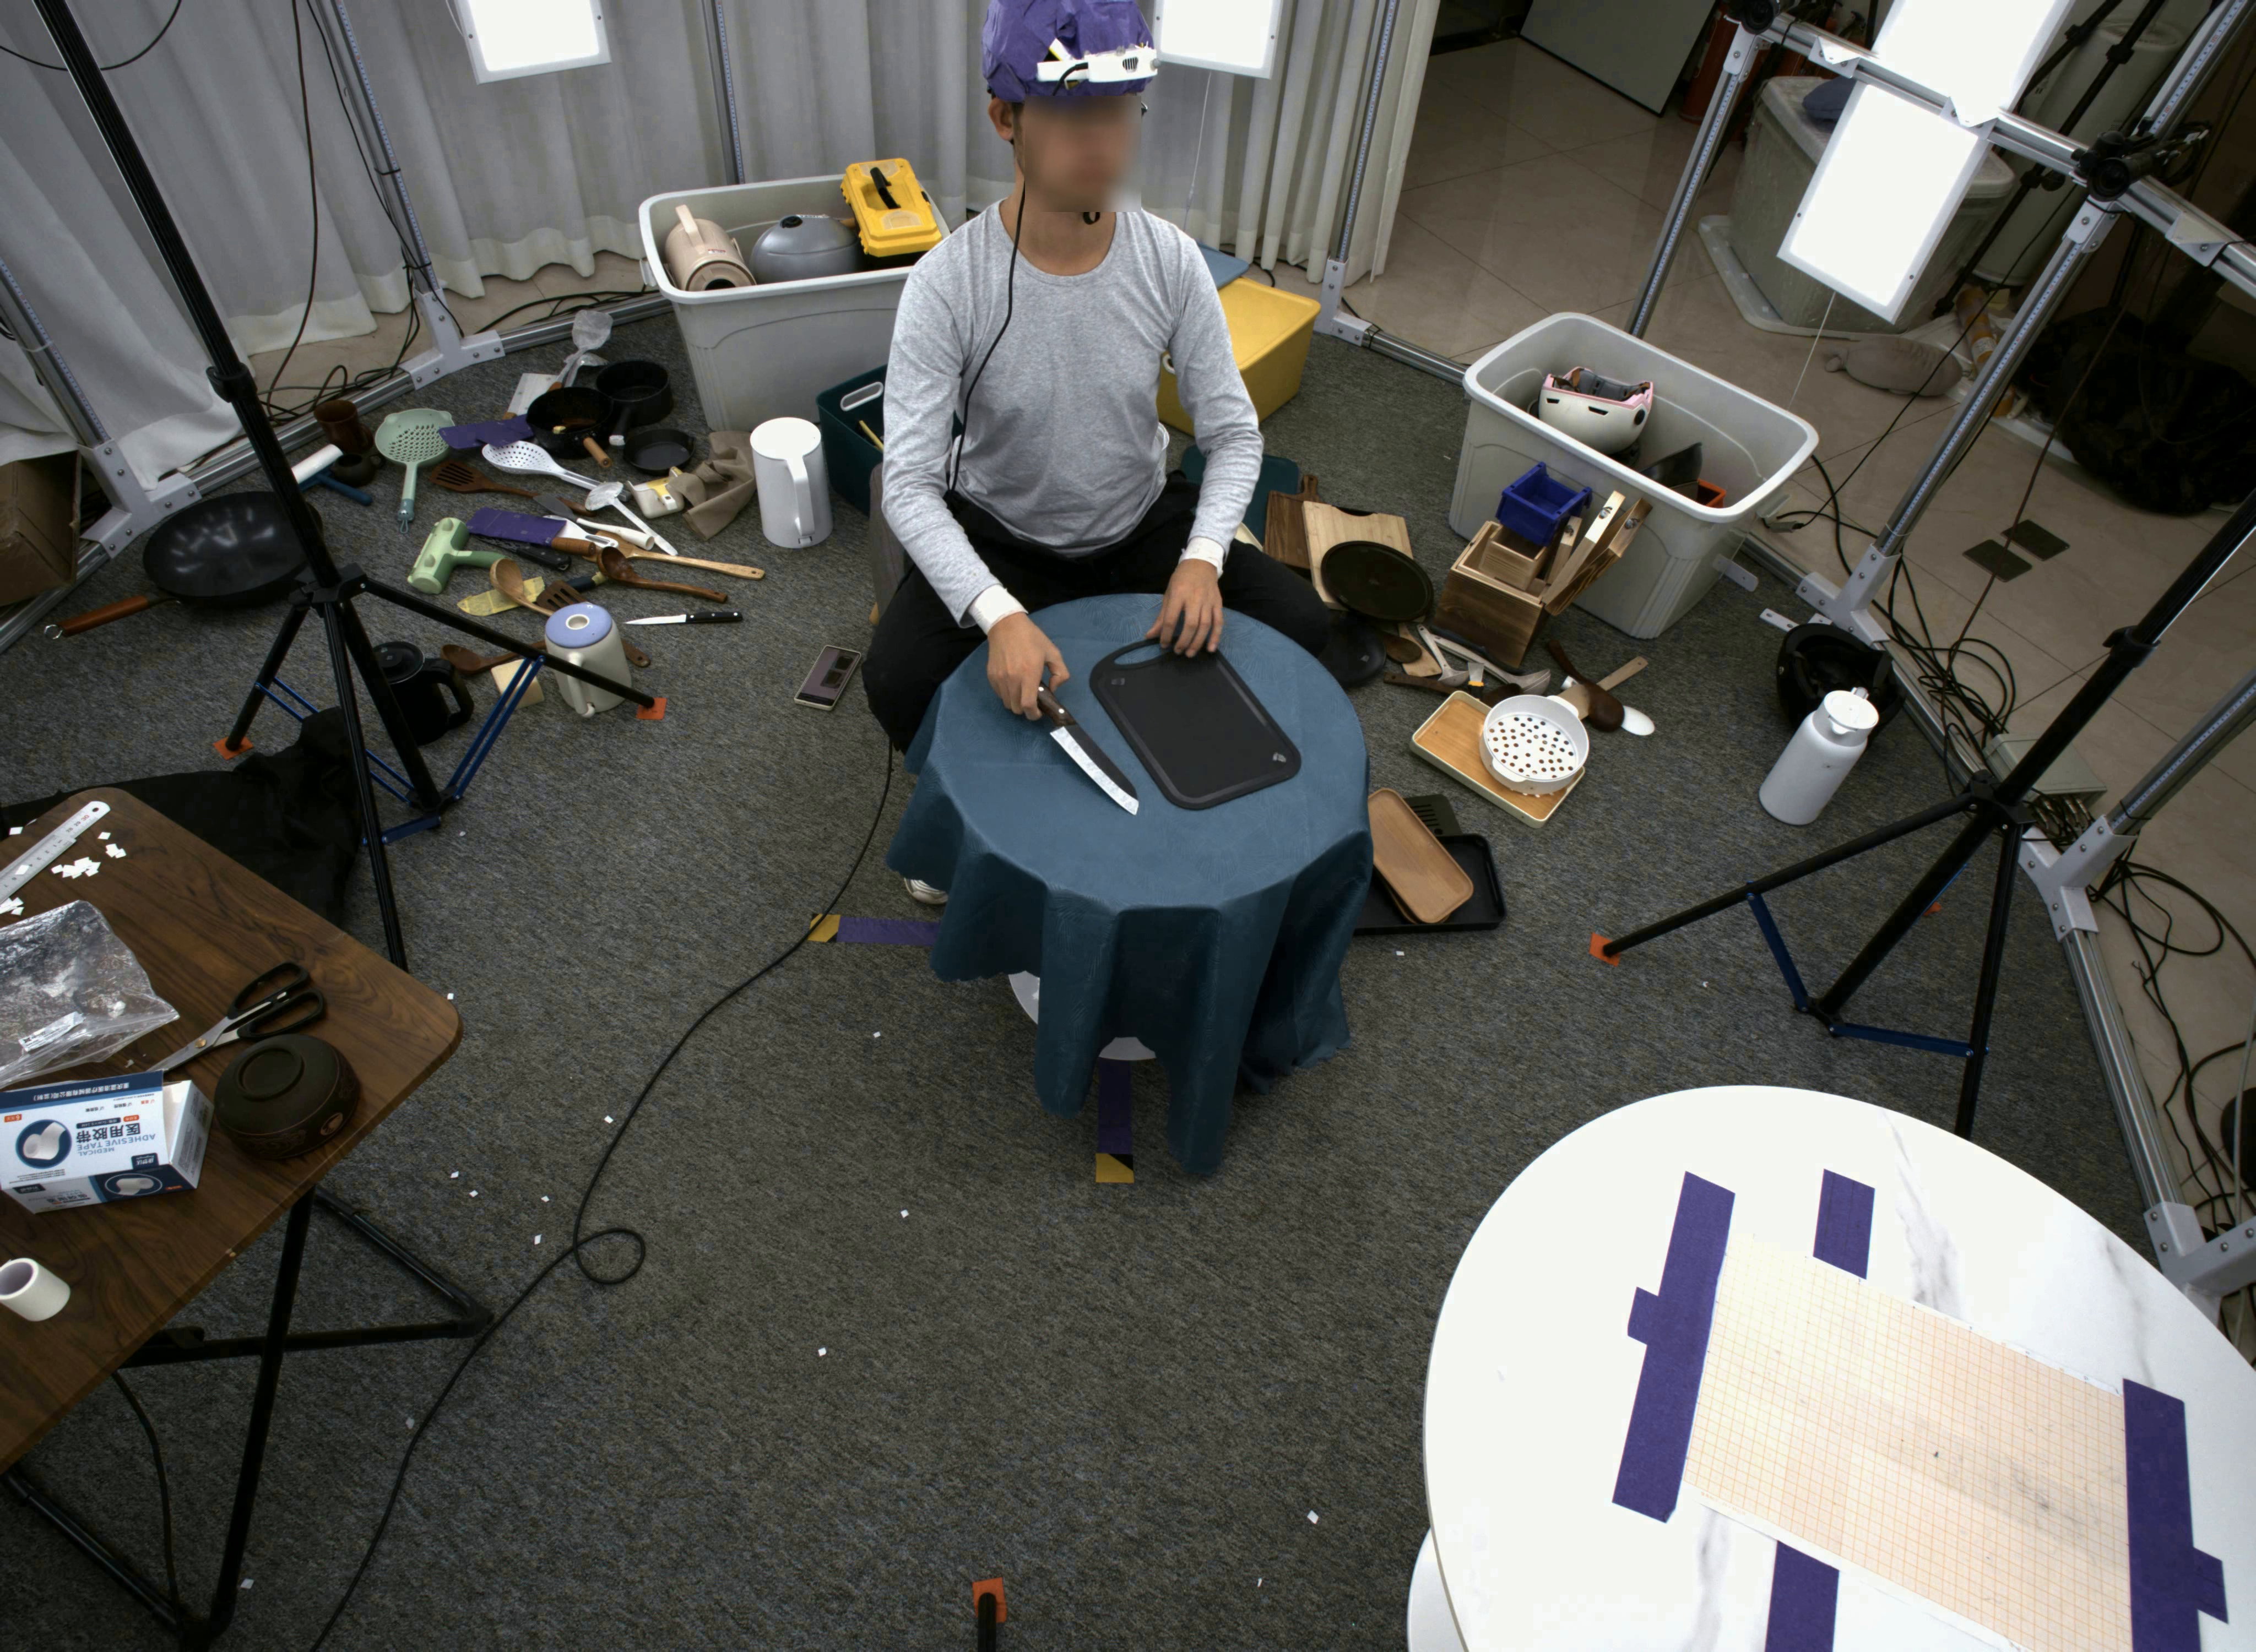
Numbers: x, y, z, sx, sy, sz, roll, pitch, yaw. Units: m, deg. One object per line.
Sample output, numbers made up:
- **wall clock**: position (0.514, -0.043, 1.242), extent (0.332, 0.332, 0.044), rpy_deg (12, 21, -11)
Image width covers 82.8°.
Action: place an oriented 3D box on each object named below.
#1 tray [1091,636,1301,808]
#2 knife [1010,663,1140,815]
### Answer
- **tray**: position (0.088, -0.159, 1.807), extent (0.211, 0.009, 0.333), rpy_deg (-18, 52, -19)
- **knife**: position (-0.073, -0.119, 1.739), extent (0.050, 0.019, 0.294), rpy_deg (-27, 64, -27)
